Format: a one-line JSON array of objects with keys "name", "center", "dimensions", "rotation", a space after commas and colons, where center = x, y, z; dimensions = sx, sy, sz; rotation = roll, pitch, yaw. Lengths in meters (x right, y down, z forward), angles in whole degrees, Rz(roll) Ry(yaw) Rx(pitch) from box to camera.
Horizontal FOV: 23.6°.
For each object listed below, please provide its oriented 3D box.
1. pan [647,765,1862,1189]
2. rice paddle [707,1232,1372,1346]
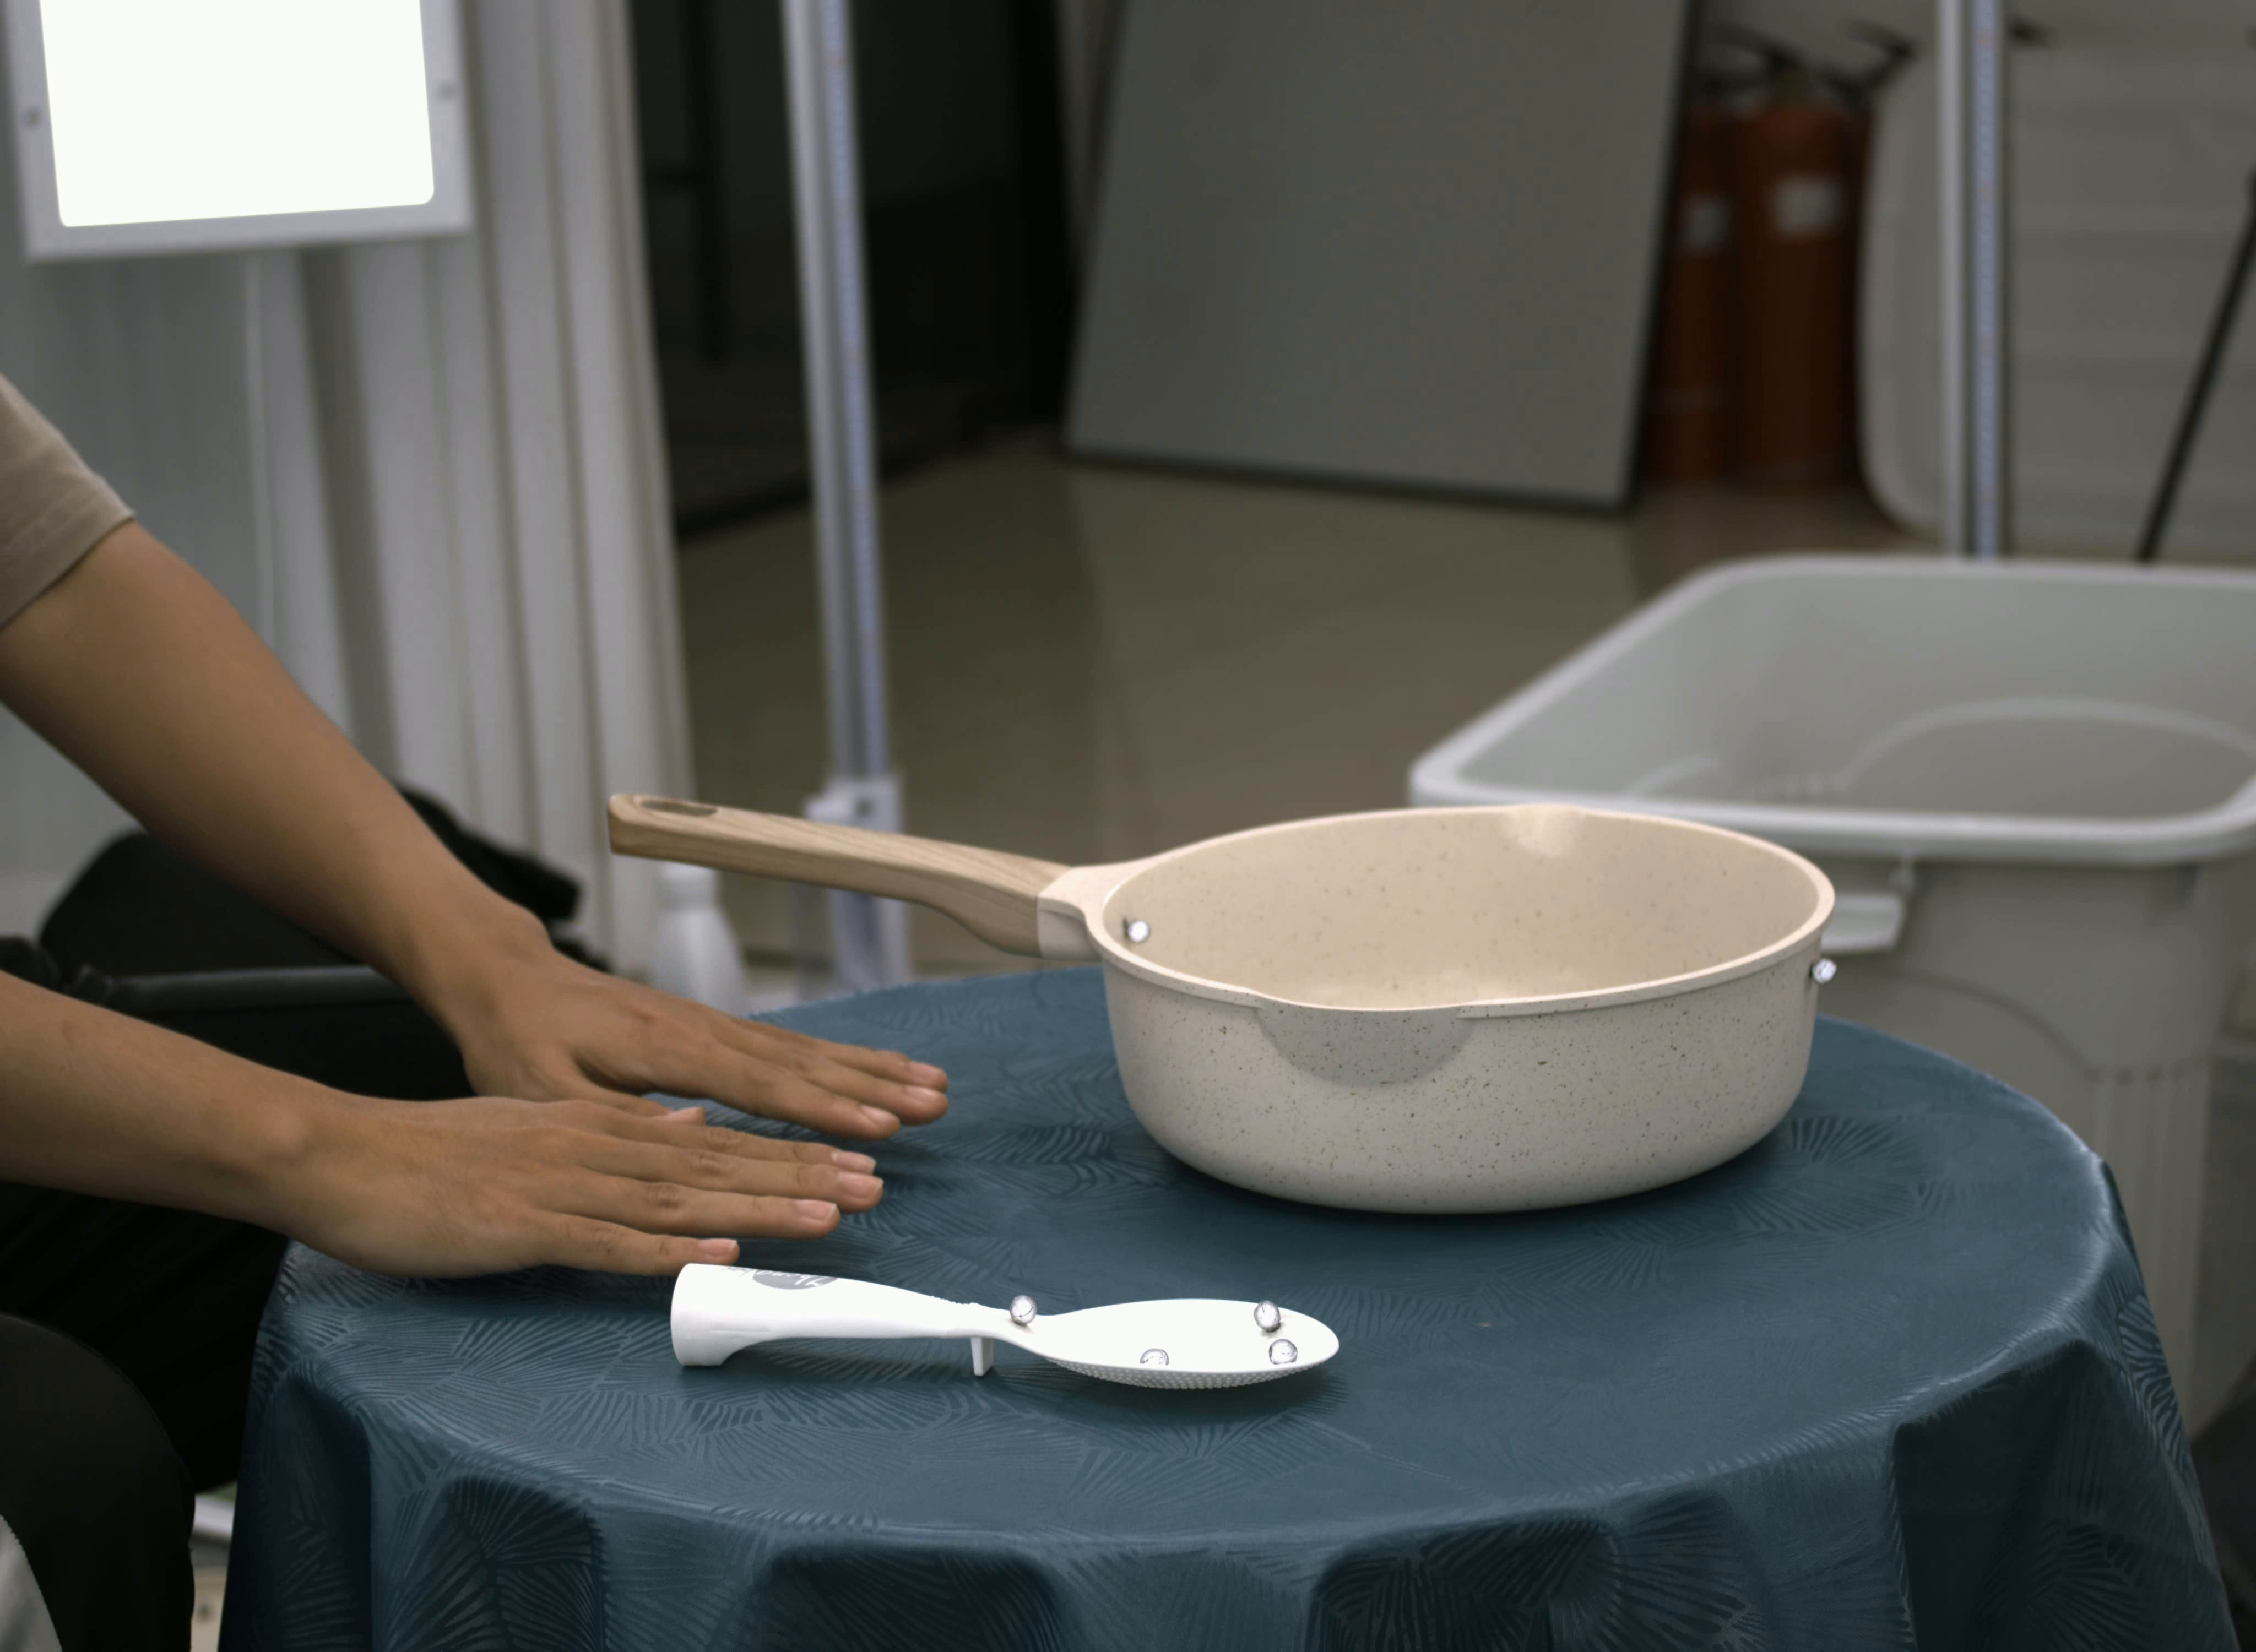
[{"name": "pan", "center": [0.039, 0.045, 1.856], "dimensions": [0.434, 0.103, 0.261], "rotation": [1, 16, 20]}, {"name": "rice paddle", "center": [-0.026, 0.138, 1.617], "dimensions": [0.204, 0.030, 0.068], "rotation": [0, 13, 16]}]
